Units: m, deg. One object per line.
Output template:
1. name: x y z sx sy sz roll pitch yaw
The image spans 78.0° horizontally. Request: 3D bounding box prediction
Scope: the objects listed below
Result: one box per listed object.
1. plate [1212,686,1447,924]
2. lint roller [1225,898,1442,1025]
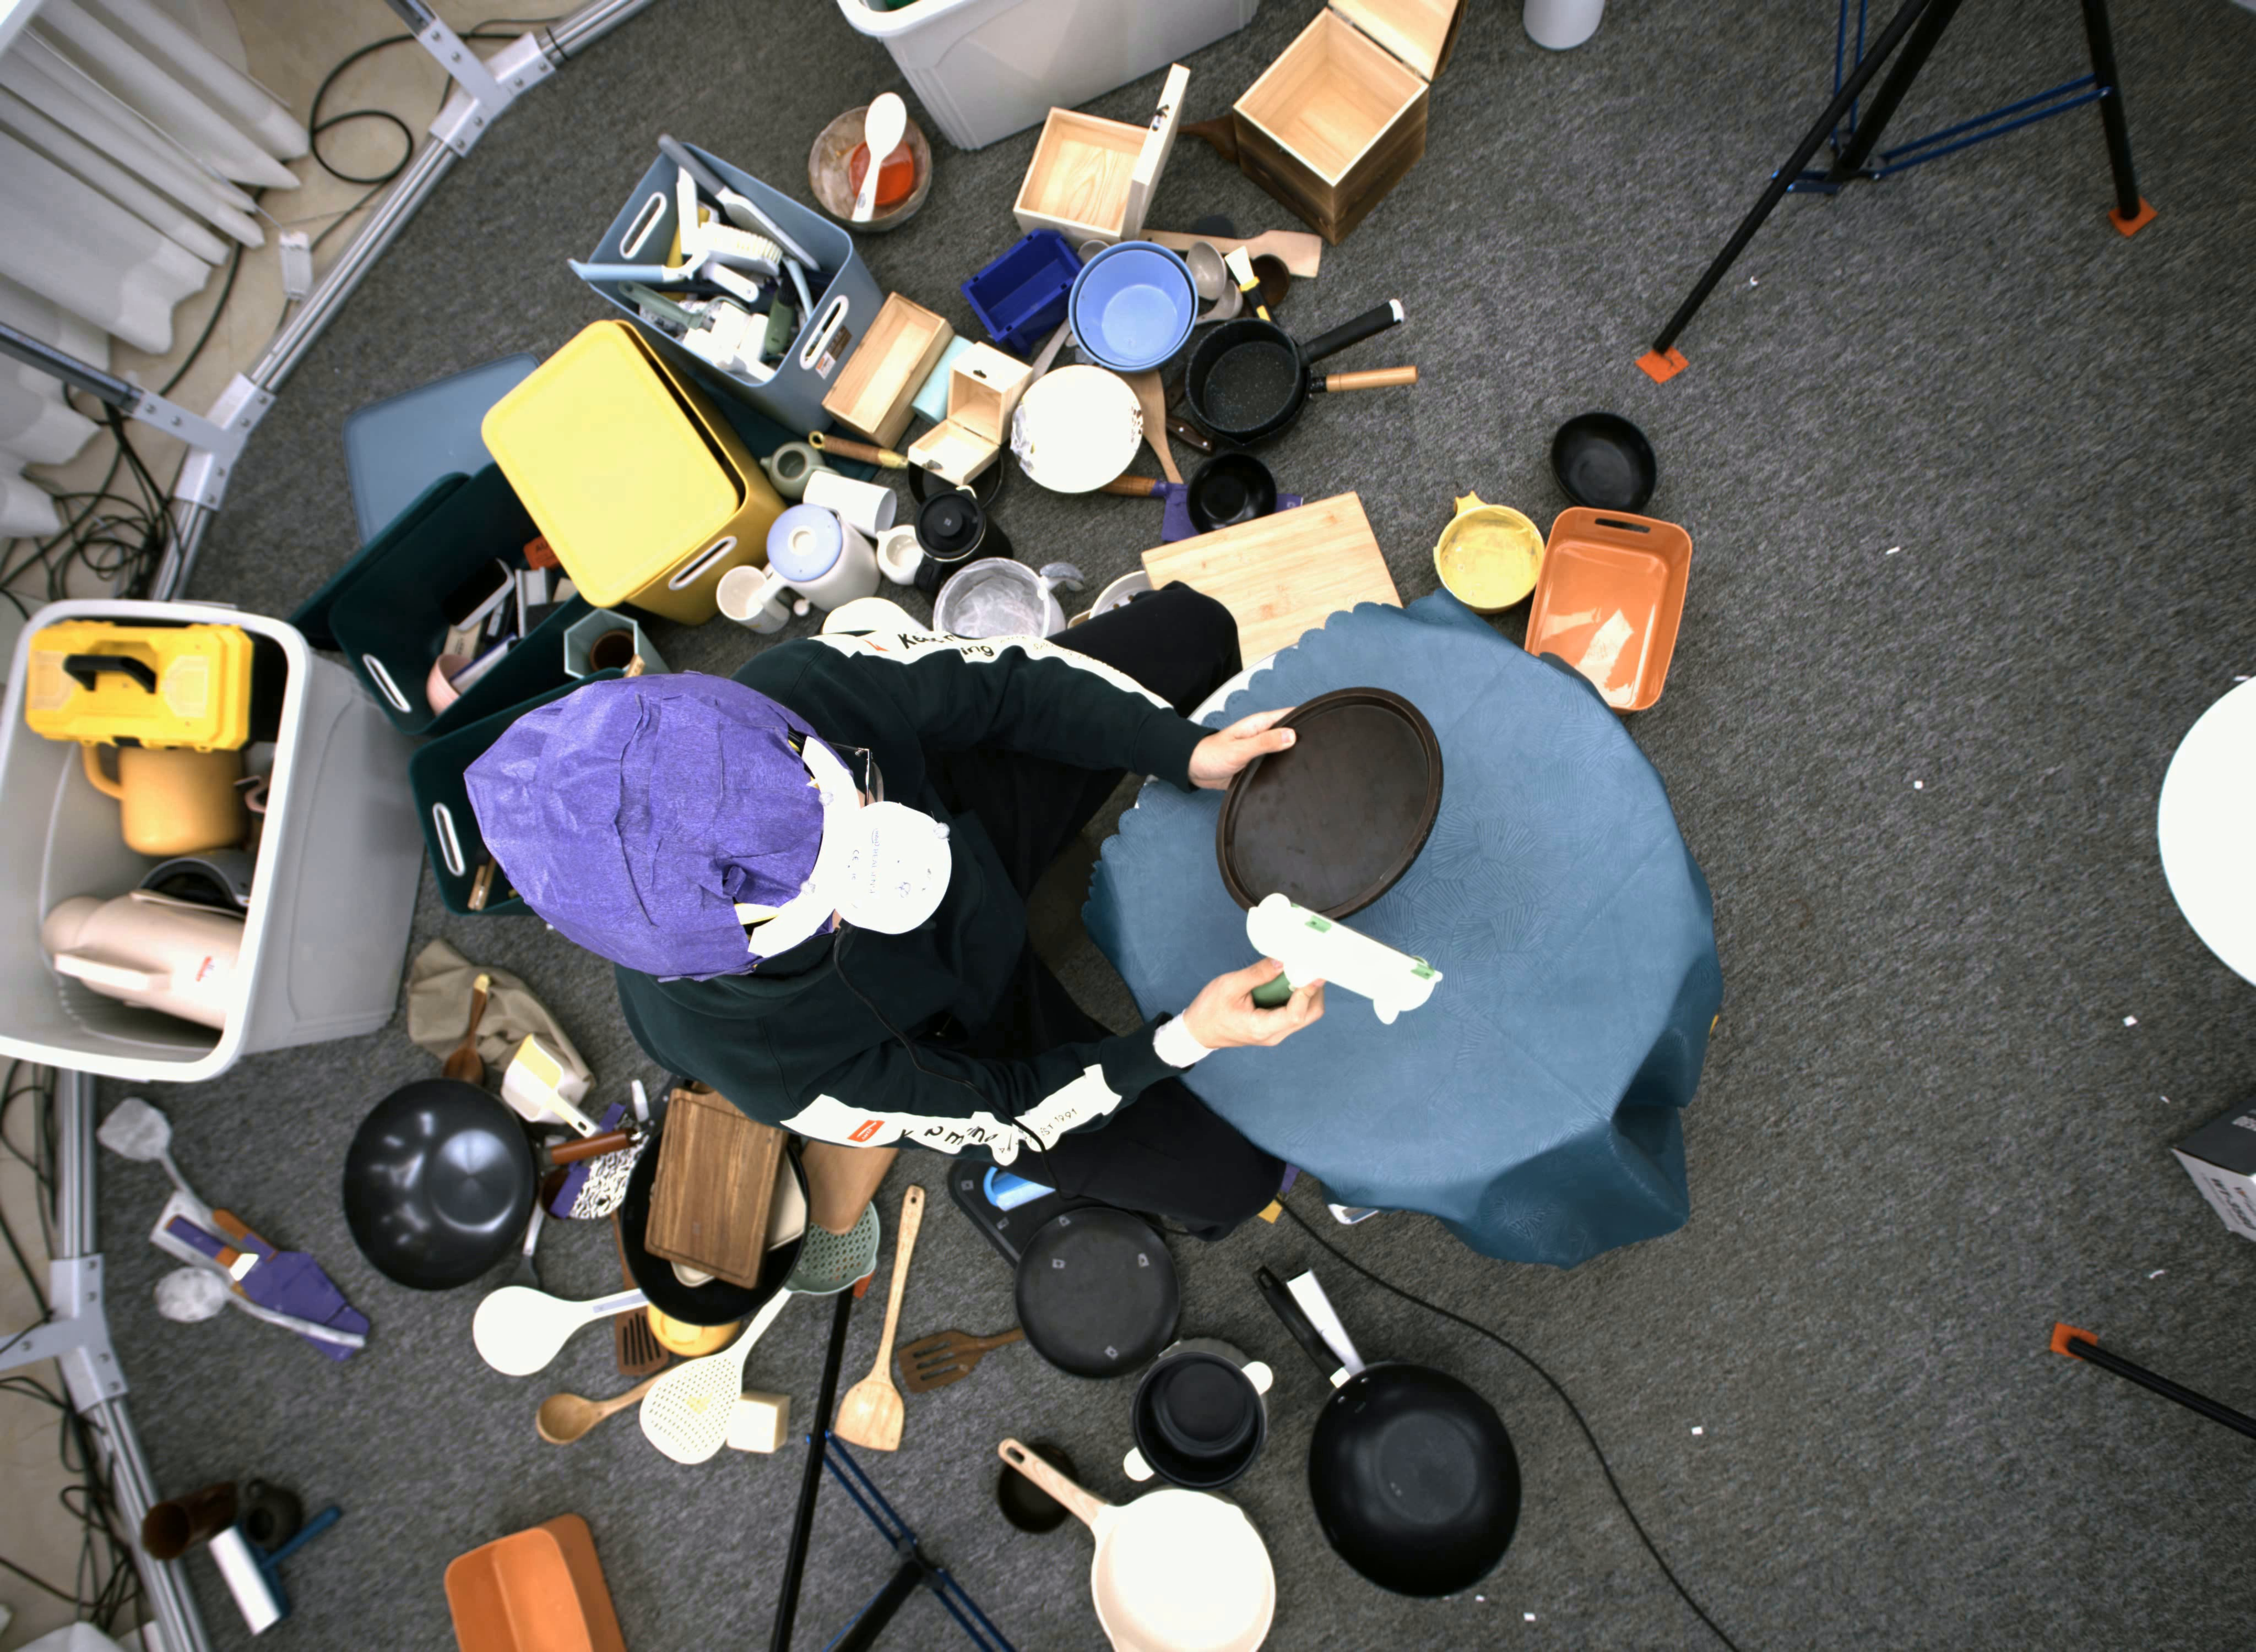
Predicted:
1. plate: 0.190 -0.019 1.309 0.259 0.029 0.249 -23 54 34
2. lint roller: 0.158 0.149 1.263 0.187 0.199 0.080 -39 42 36
